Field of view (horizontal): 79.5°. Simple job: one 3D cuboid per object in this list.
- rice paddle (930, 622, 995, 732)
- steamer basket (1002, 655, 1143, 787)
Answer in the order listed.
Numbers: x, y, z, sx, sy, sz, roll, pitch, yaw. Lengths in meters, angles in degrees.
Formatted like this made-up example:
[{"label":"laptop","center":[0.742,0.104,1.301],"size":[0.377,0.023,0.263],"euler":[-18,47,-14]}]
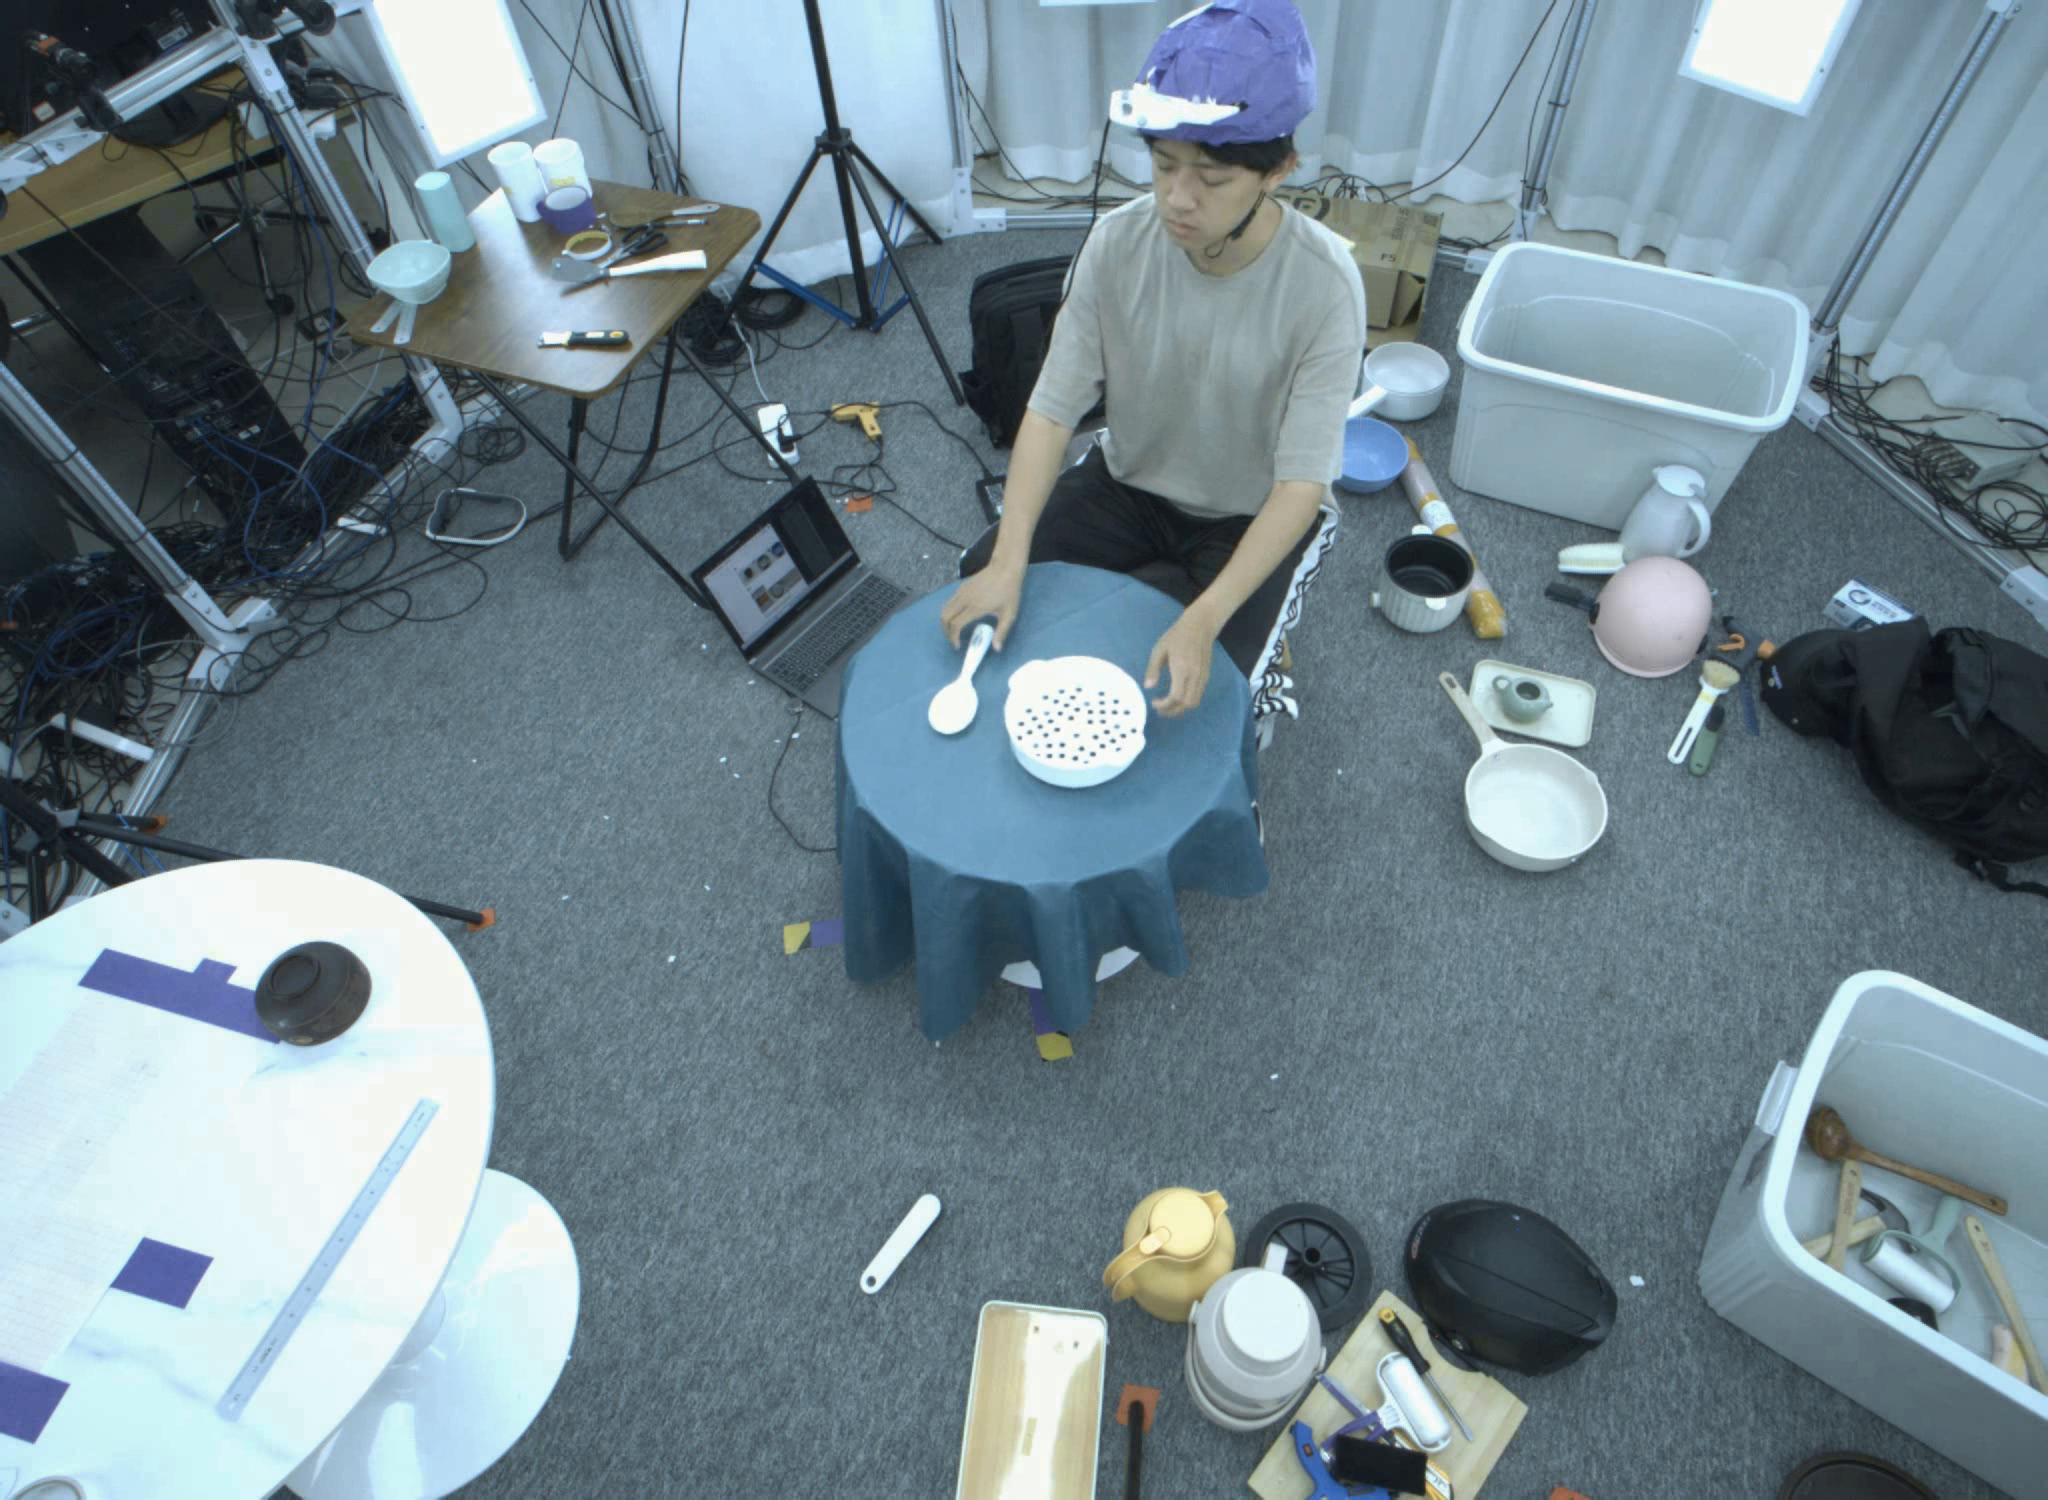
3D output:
[{"label":"rice paddle","center":[-0.087,-0.109,1.846],"size":[0.068,0.030,0.204],"euler":[11,56,12]},{"label":"steamer basket","center":[0.070,-0.040,1.772],"size":[0.203,0.070,0.226],"euler":[-39,64,-22]}]
